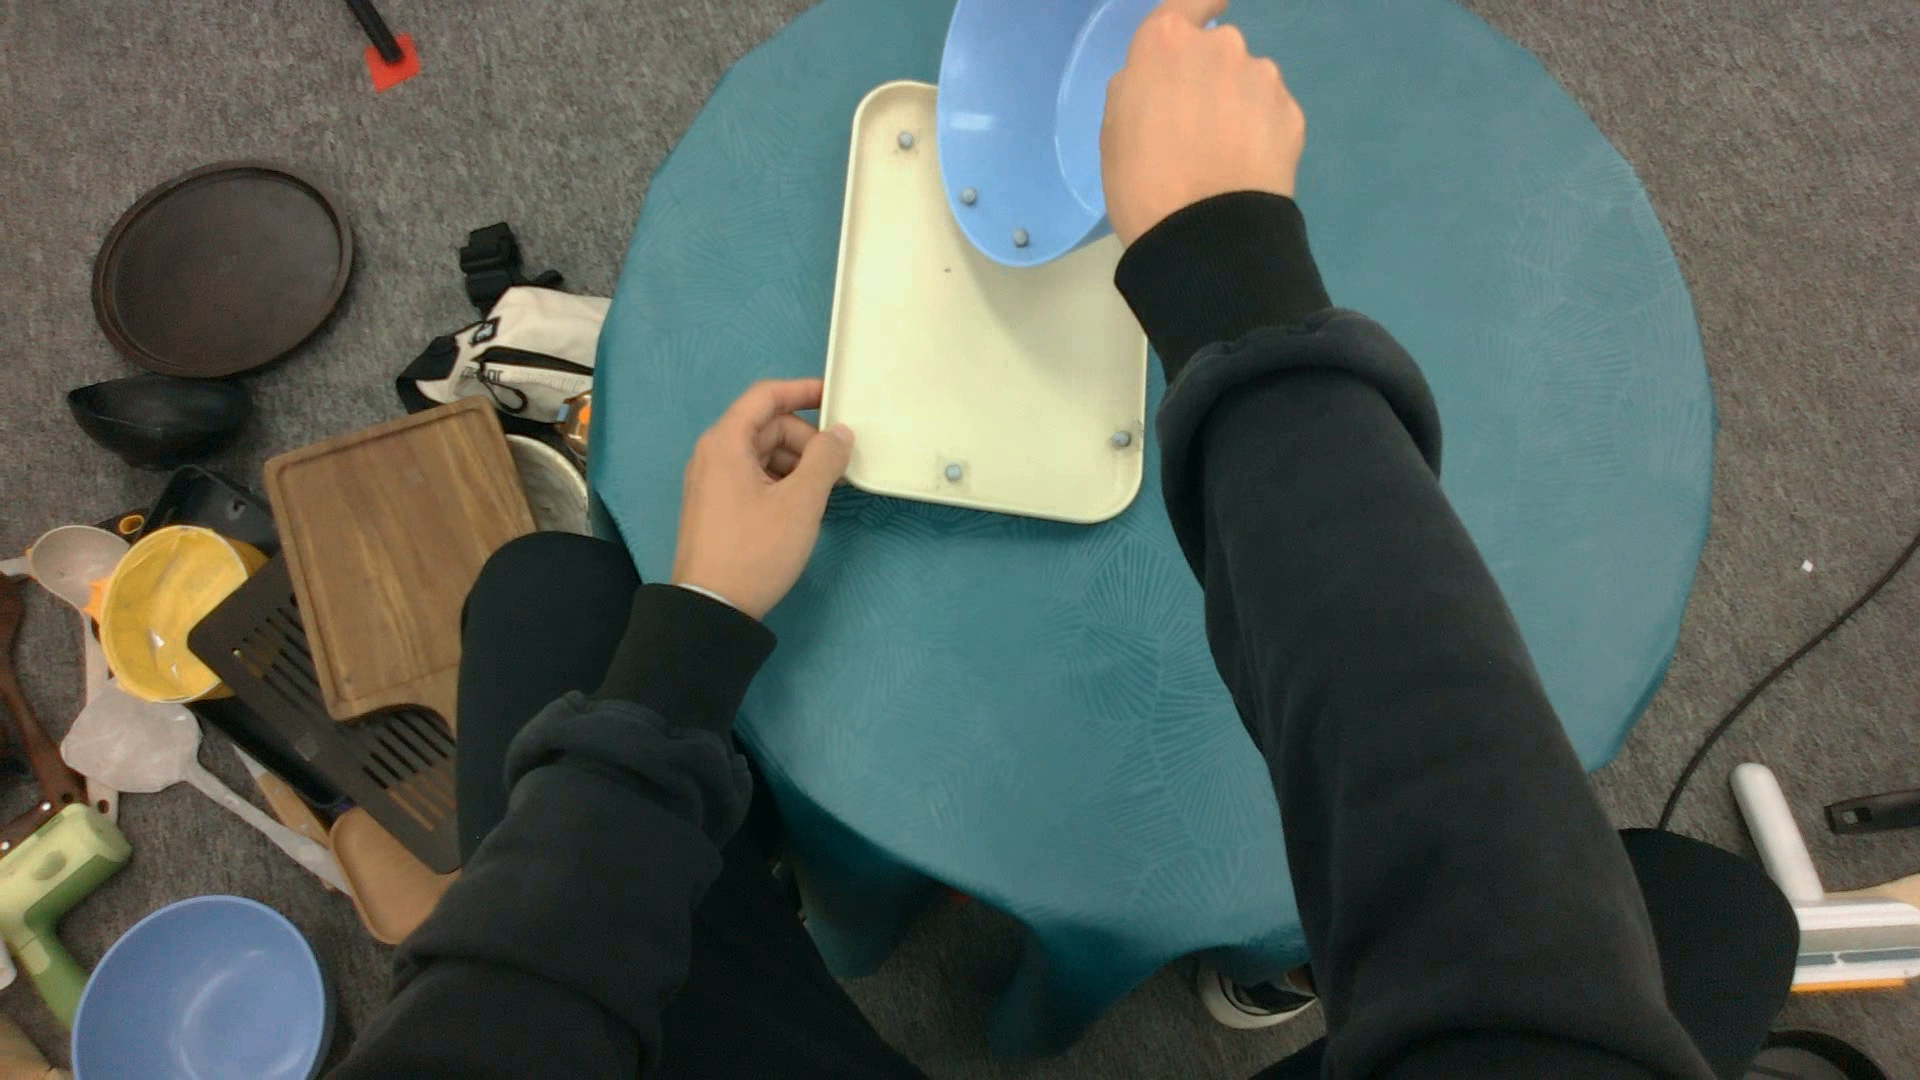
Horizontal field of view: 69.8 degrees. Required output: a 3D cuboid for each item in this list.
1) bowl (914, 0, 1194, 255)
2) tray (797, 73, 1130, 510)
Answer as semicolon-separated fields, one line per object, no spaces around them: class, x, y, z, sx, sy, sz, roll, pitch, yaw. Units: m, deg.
bowl;0.052;-0.227;0.679;0.070;0.175;0.176;-2;69;-35
tray;0.006;-0.134;0.735;0.171;0.017;0.240;7;72;-10
